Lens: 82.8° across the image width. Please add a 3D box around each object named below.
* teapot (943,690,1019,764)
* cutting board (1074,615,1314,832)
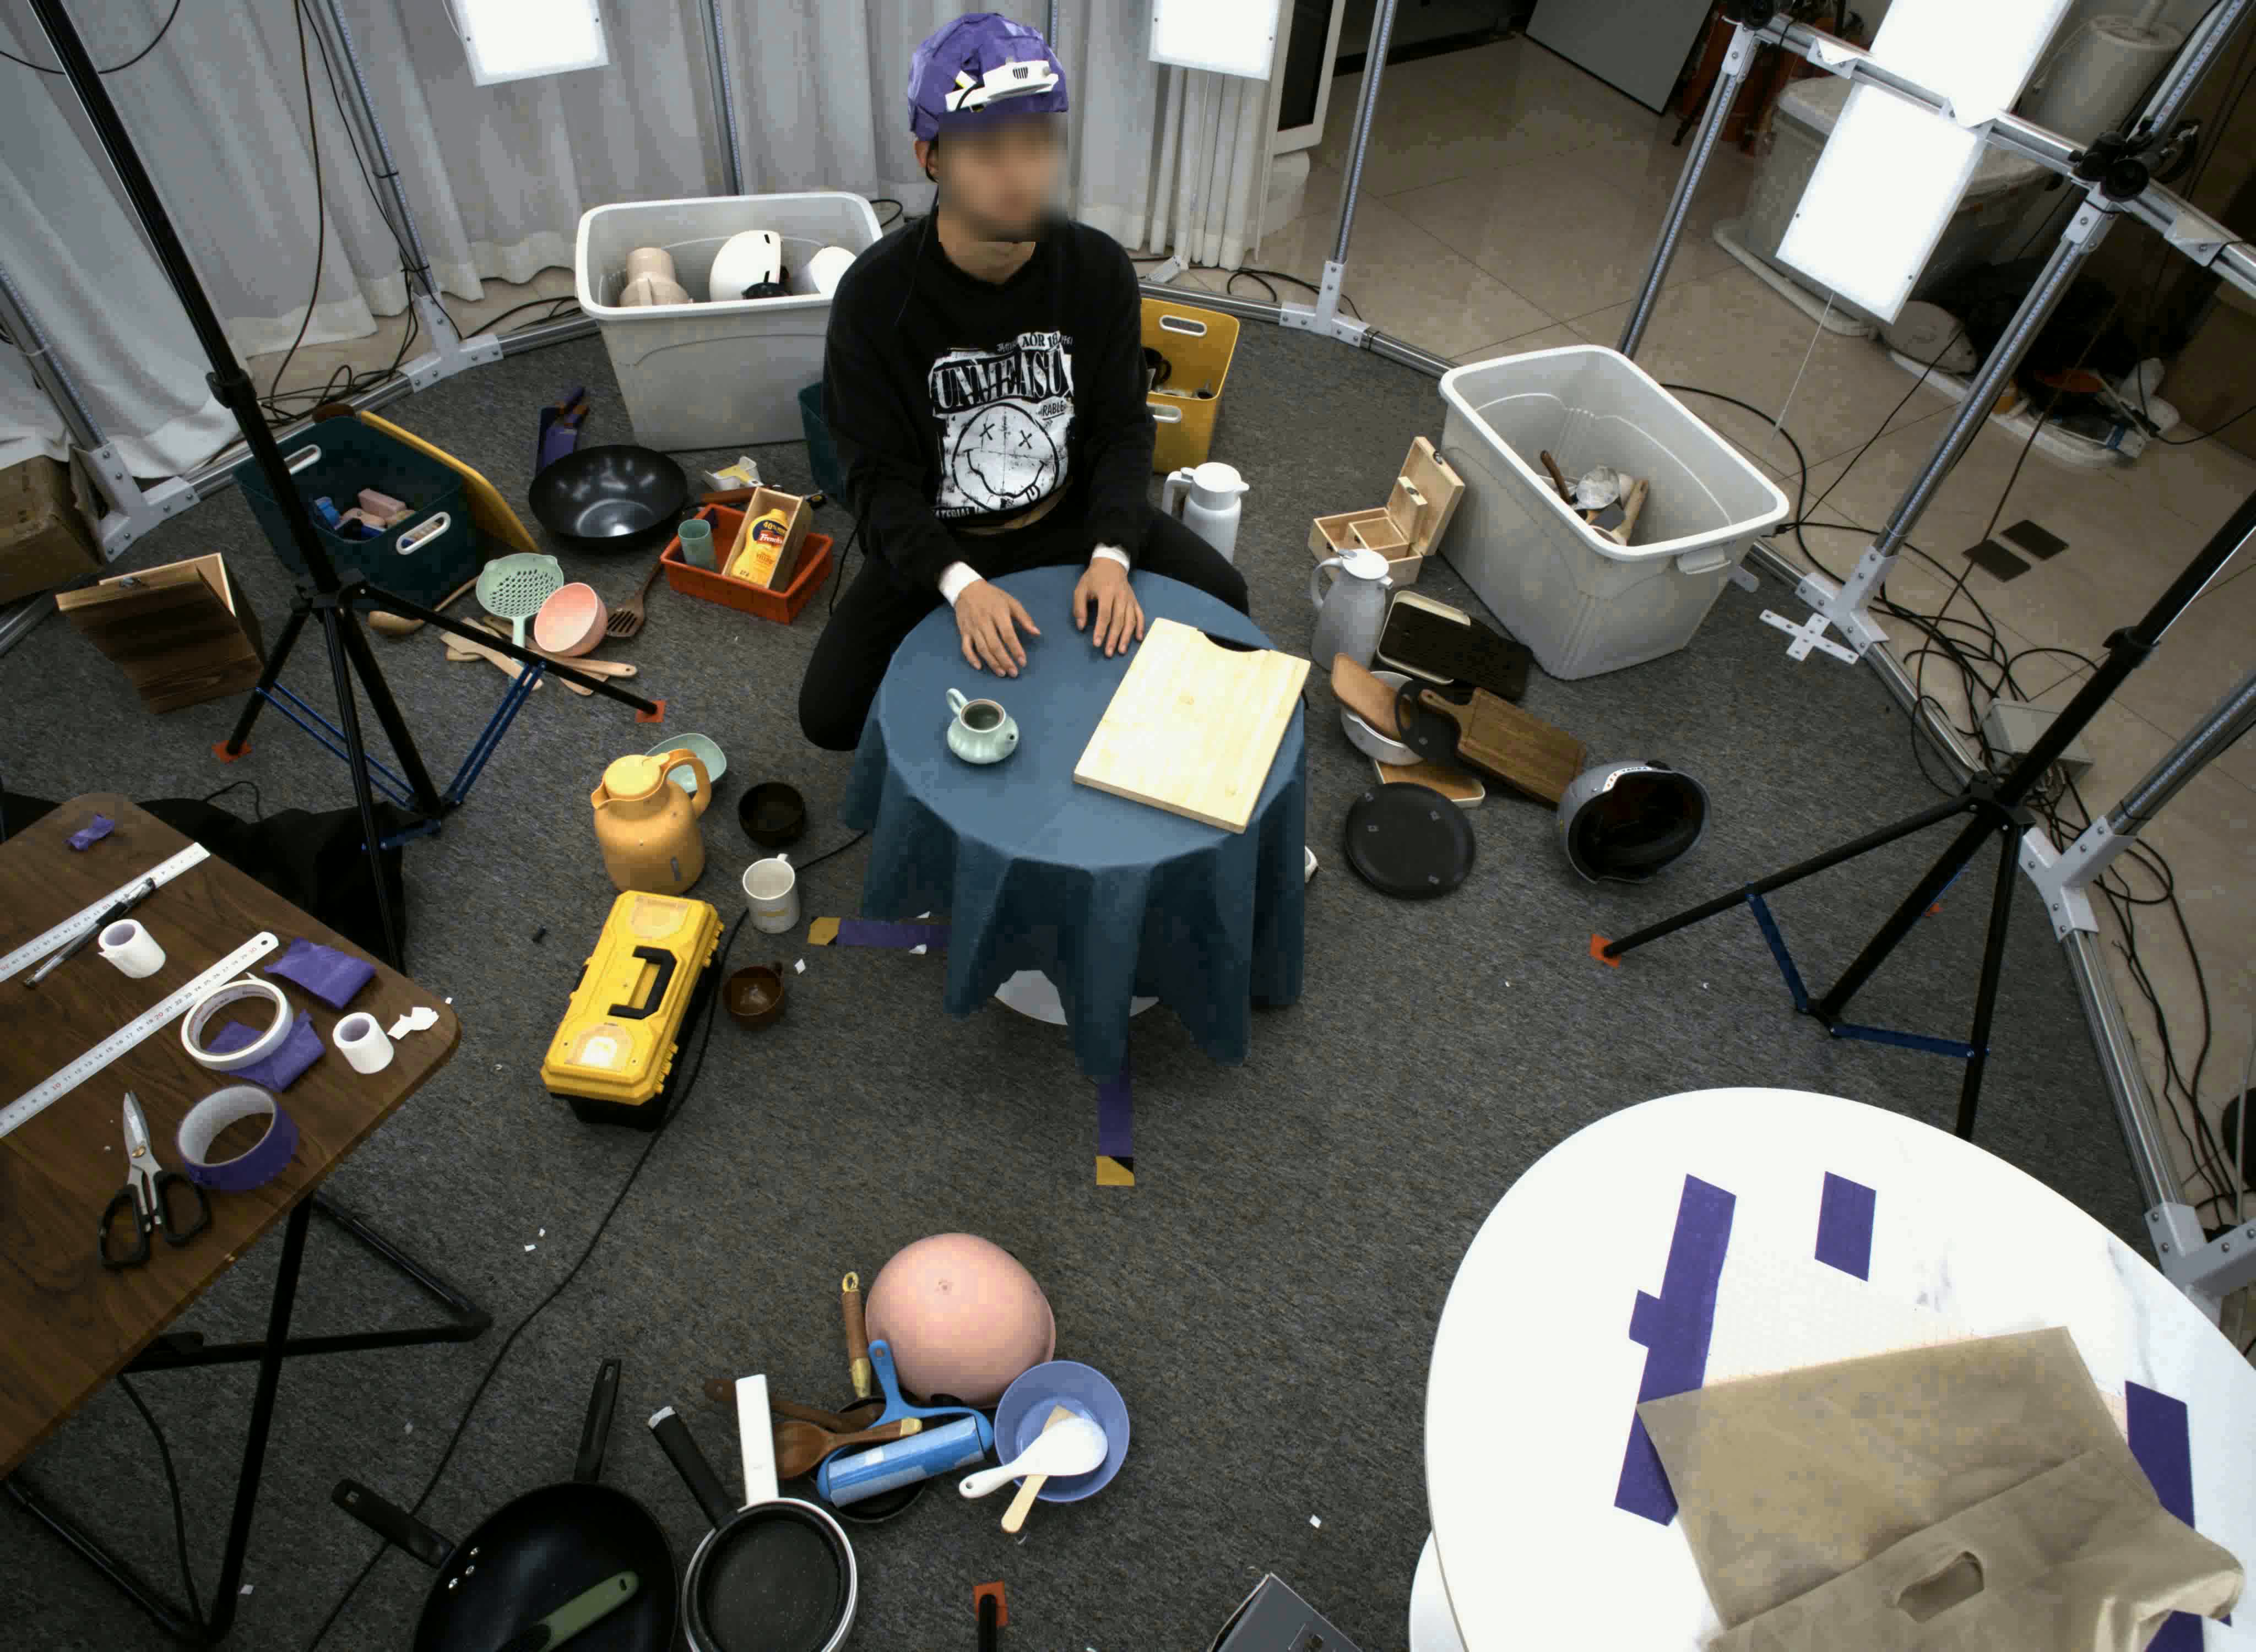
[{"bbox_3d":[-0.199,-0.134,1.734,0.139,0.060,0.097,36,58,24],"label":"teapot"},{"bbox_3d":[0.099,-0.154,1.798,0.251,0.023,0.356,16,50,10],"label":"cutting board"}]
